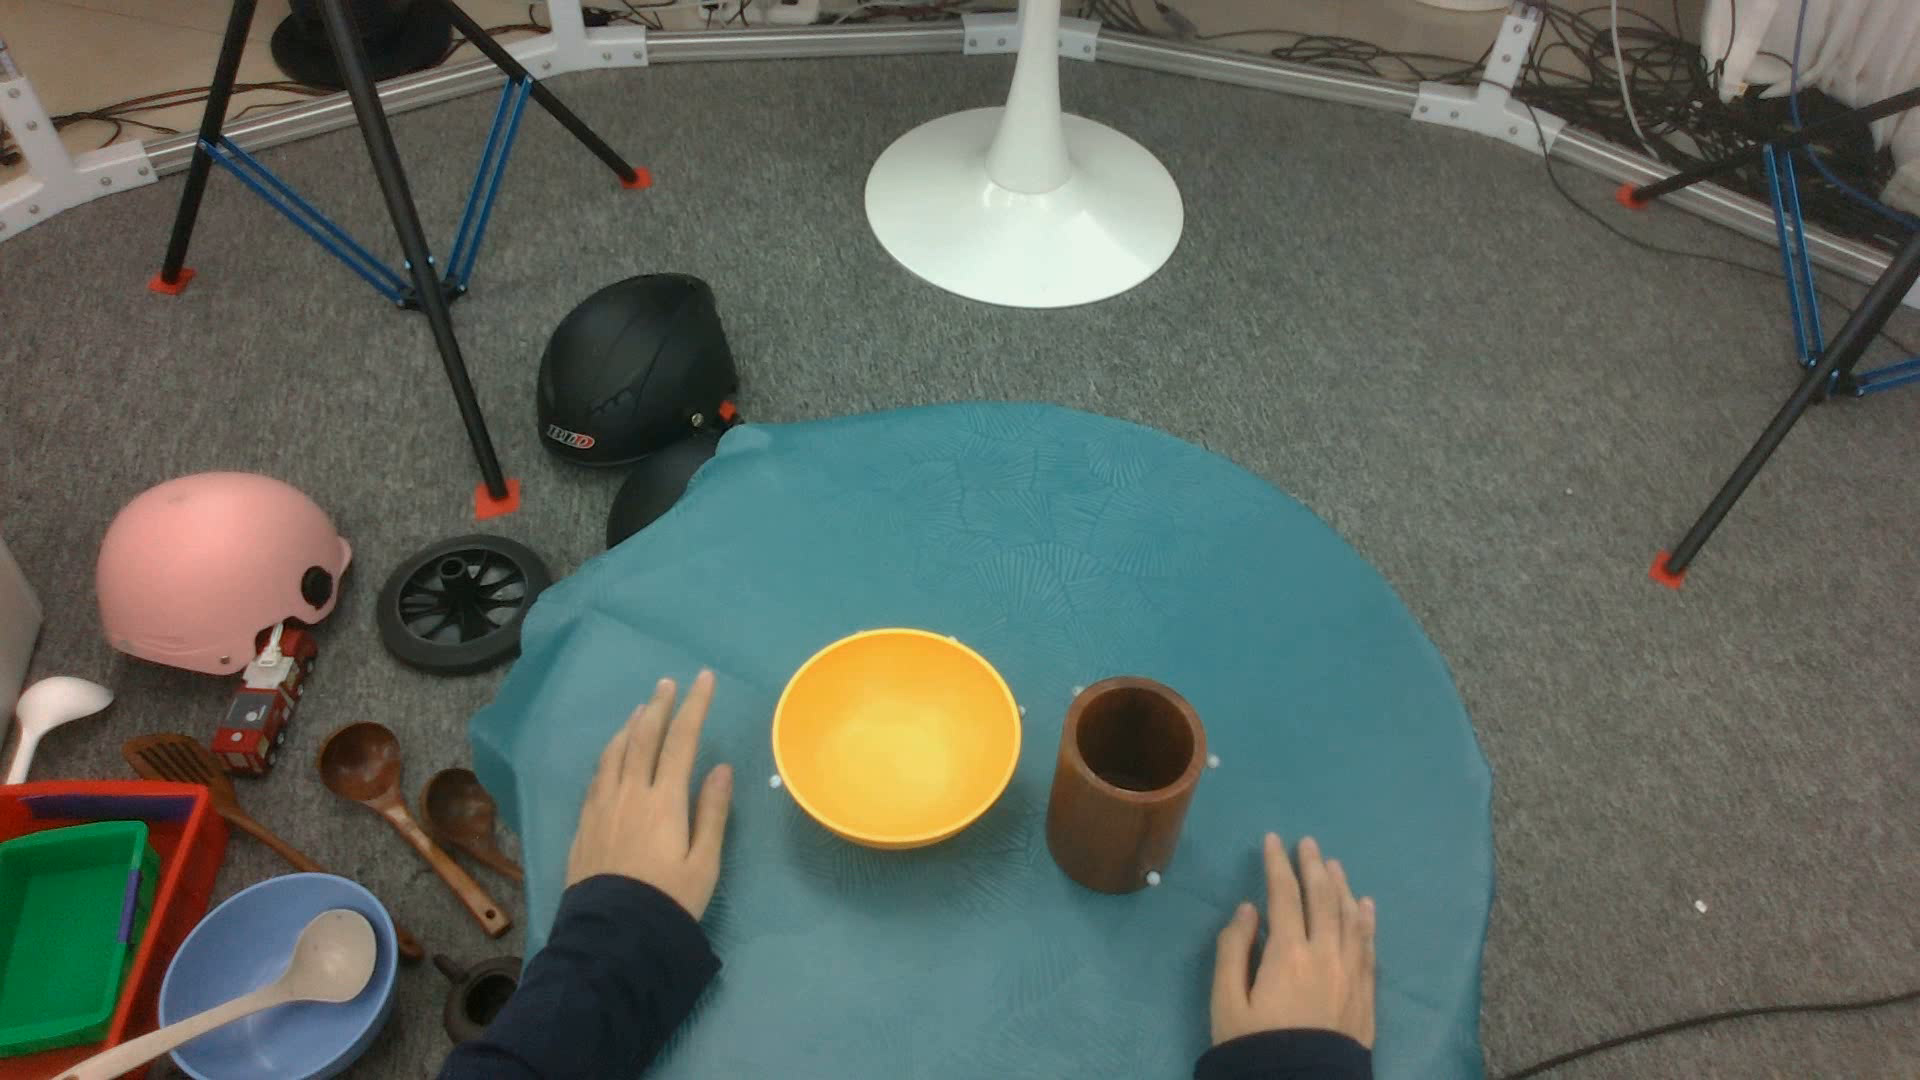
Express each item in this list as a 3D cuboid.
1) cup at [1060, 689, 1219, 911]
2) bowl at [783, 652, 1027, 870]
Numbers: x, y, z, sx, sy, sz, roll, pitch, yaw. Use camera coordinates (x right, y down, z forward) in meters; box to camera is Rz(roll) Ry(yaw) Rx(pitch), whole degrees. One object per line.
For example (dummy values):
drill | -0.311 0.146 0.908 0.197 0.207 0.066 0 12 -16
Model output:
cup | 0.101 0.152 0.795 0.088 0.118 0.088 -1 49 1
bowl | -0.032 0.143 0.835 0.145 0.060 0.146 1 51 -1
